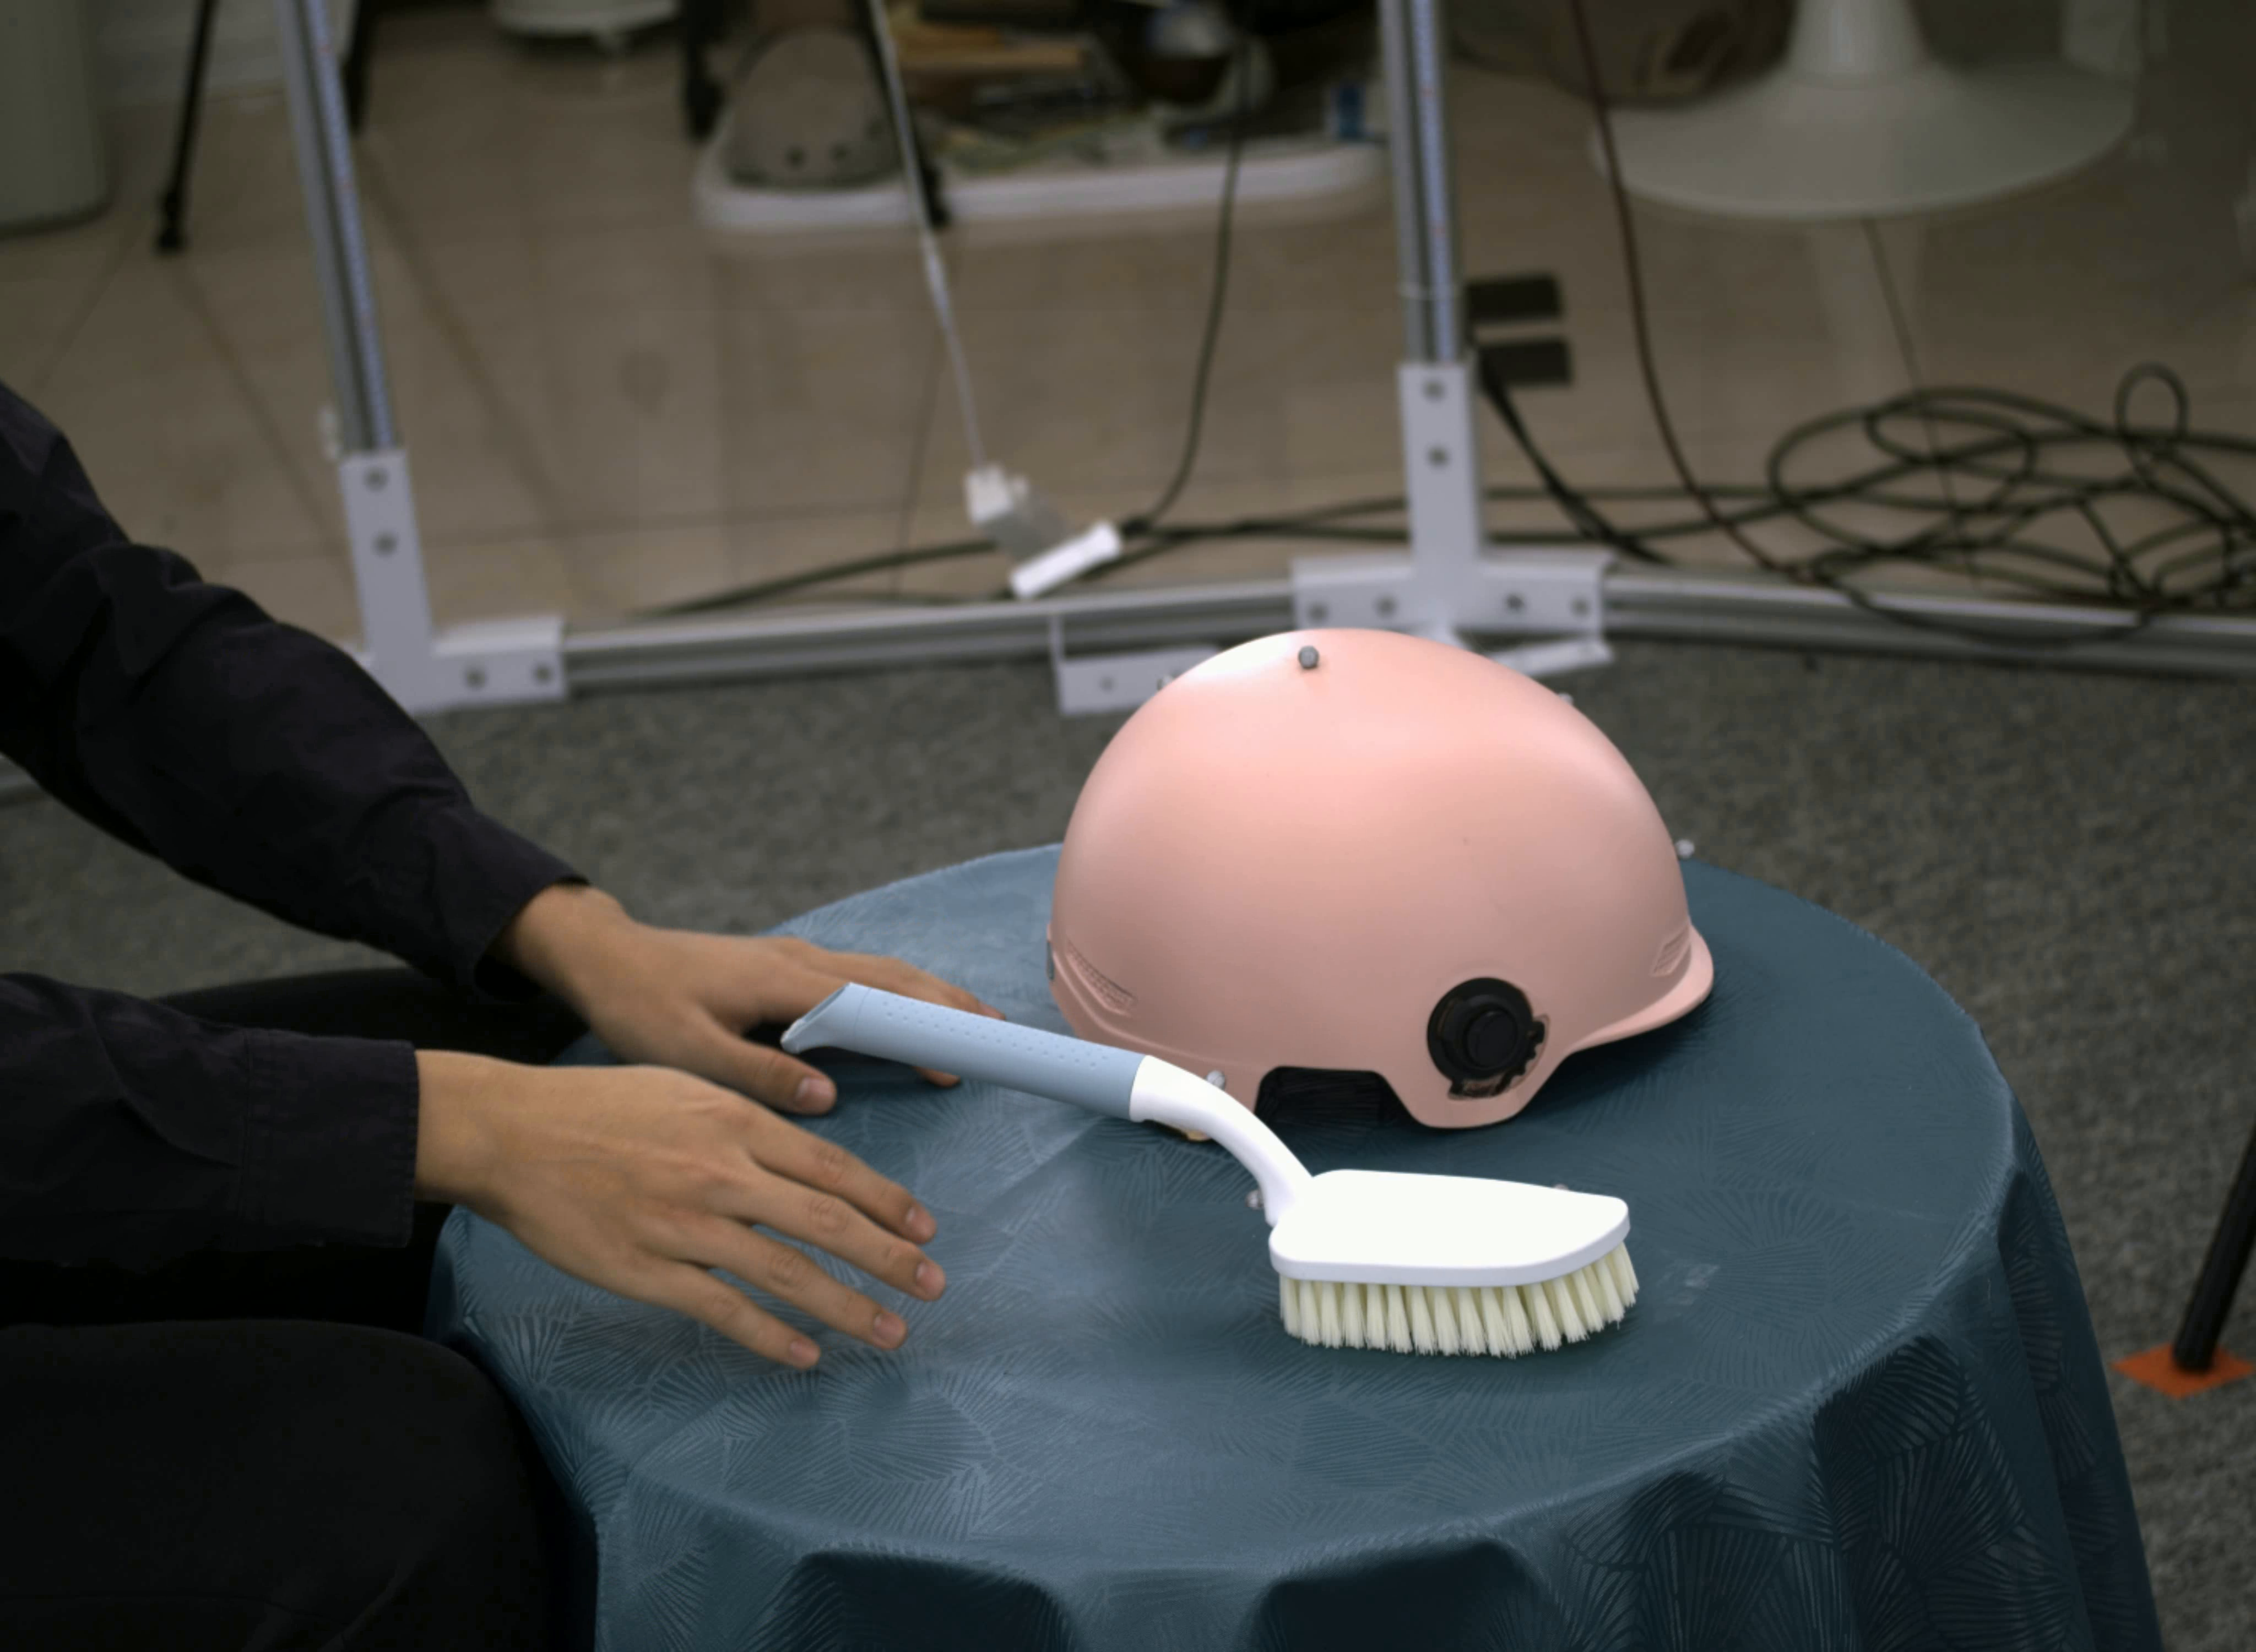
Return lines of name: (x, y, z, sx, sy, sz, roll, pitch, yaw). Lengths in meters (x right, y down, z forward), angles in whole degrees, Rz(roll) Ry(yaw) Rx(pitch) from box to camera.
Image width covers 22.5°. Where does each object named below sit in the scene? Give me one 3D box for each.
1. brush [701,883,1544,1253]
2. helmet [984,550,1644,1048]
brush: (-0.005, 0.099, 2.082, 0.324, 0.084, 0.083, 14, -7, 13)
helmet: (0.073, -0.026, 2.250, 0.265, 0.161, 0.230, -4, 25, -5)
